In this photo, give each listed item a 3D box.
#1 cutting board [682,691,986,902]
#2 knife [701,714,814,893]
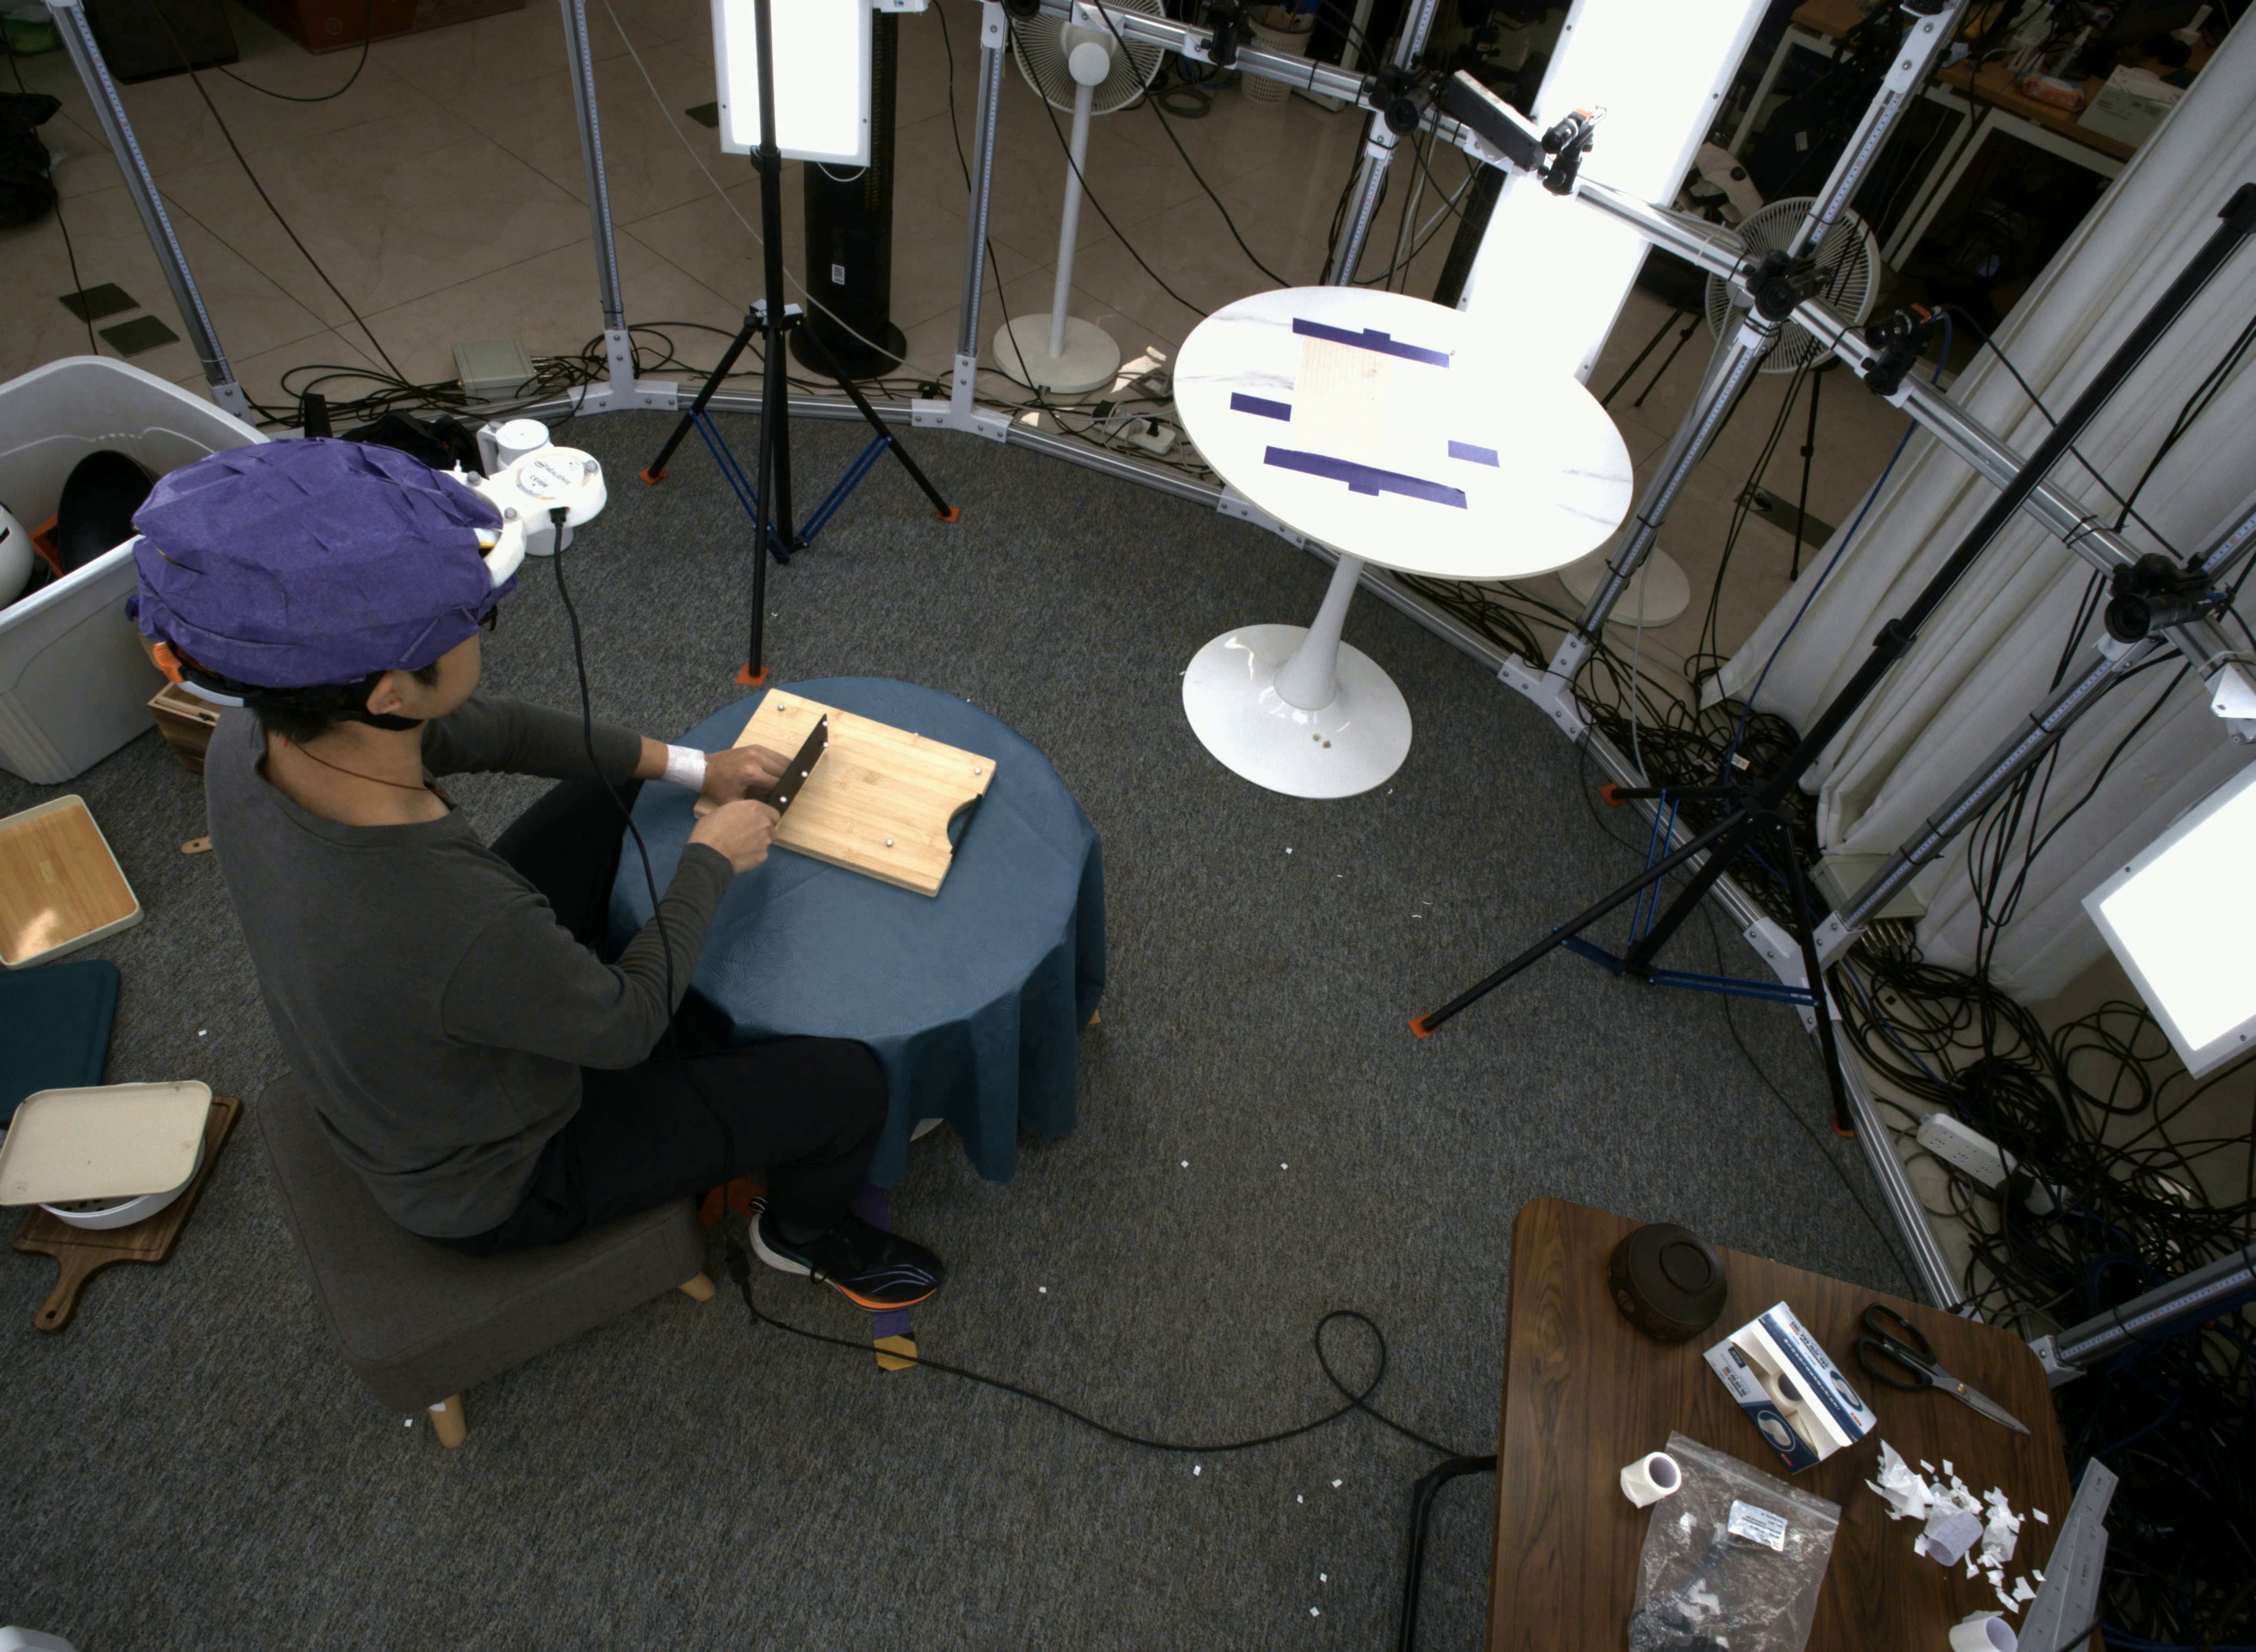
[{"bbox_3d":[-0.394,-0.047,1.768,0.346,0.024,0.248,17,52,-1],"label":"cutting board"},{"bbox_3d":[-0.471,-0.029,1.668,0.020,0.083,0.299,16,45,6],"label":"knife"}]
